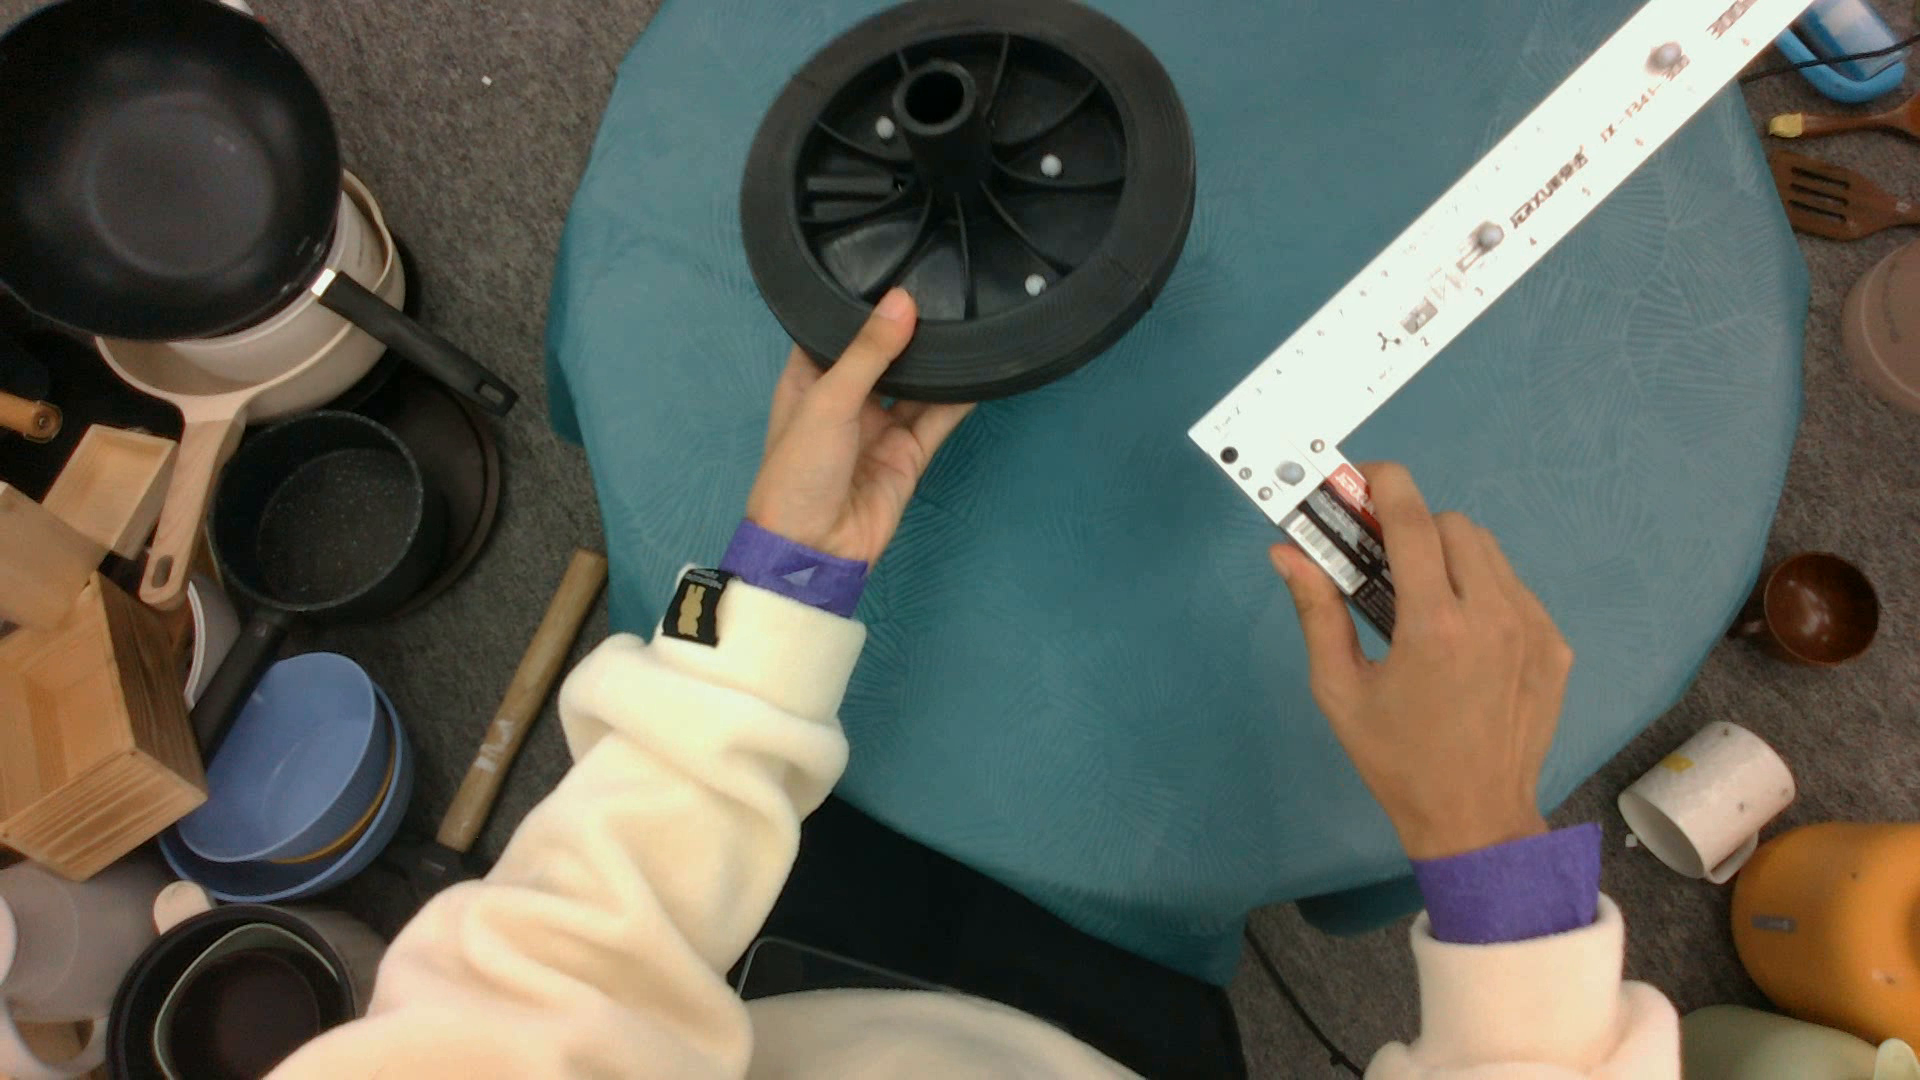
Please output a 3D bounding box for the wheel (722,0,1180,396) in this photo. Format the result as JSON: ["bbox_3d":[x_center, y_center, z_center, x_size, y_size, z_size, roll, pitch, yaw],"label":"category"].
[{"bbox_3d":[-0.009,-0.155,0.546,0.190,0.079,0.188,-19,71,4],"label":"wheel"}]

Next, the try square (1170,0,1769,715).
[{"bbox_3d":[0.237,-0.095,0.496,0.313,0.016,0.152,-44,95,3],"label":"try square"}]
